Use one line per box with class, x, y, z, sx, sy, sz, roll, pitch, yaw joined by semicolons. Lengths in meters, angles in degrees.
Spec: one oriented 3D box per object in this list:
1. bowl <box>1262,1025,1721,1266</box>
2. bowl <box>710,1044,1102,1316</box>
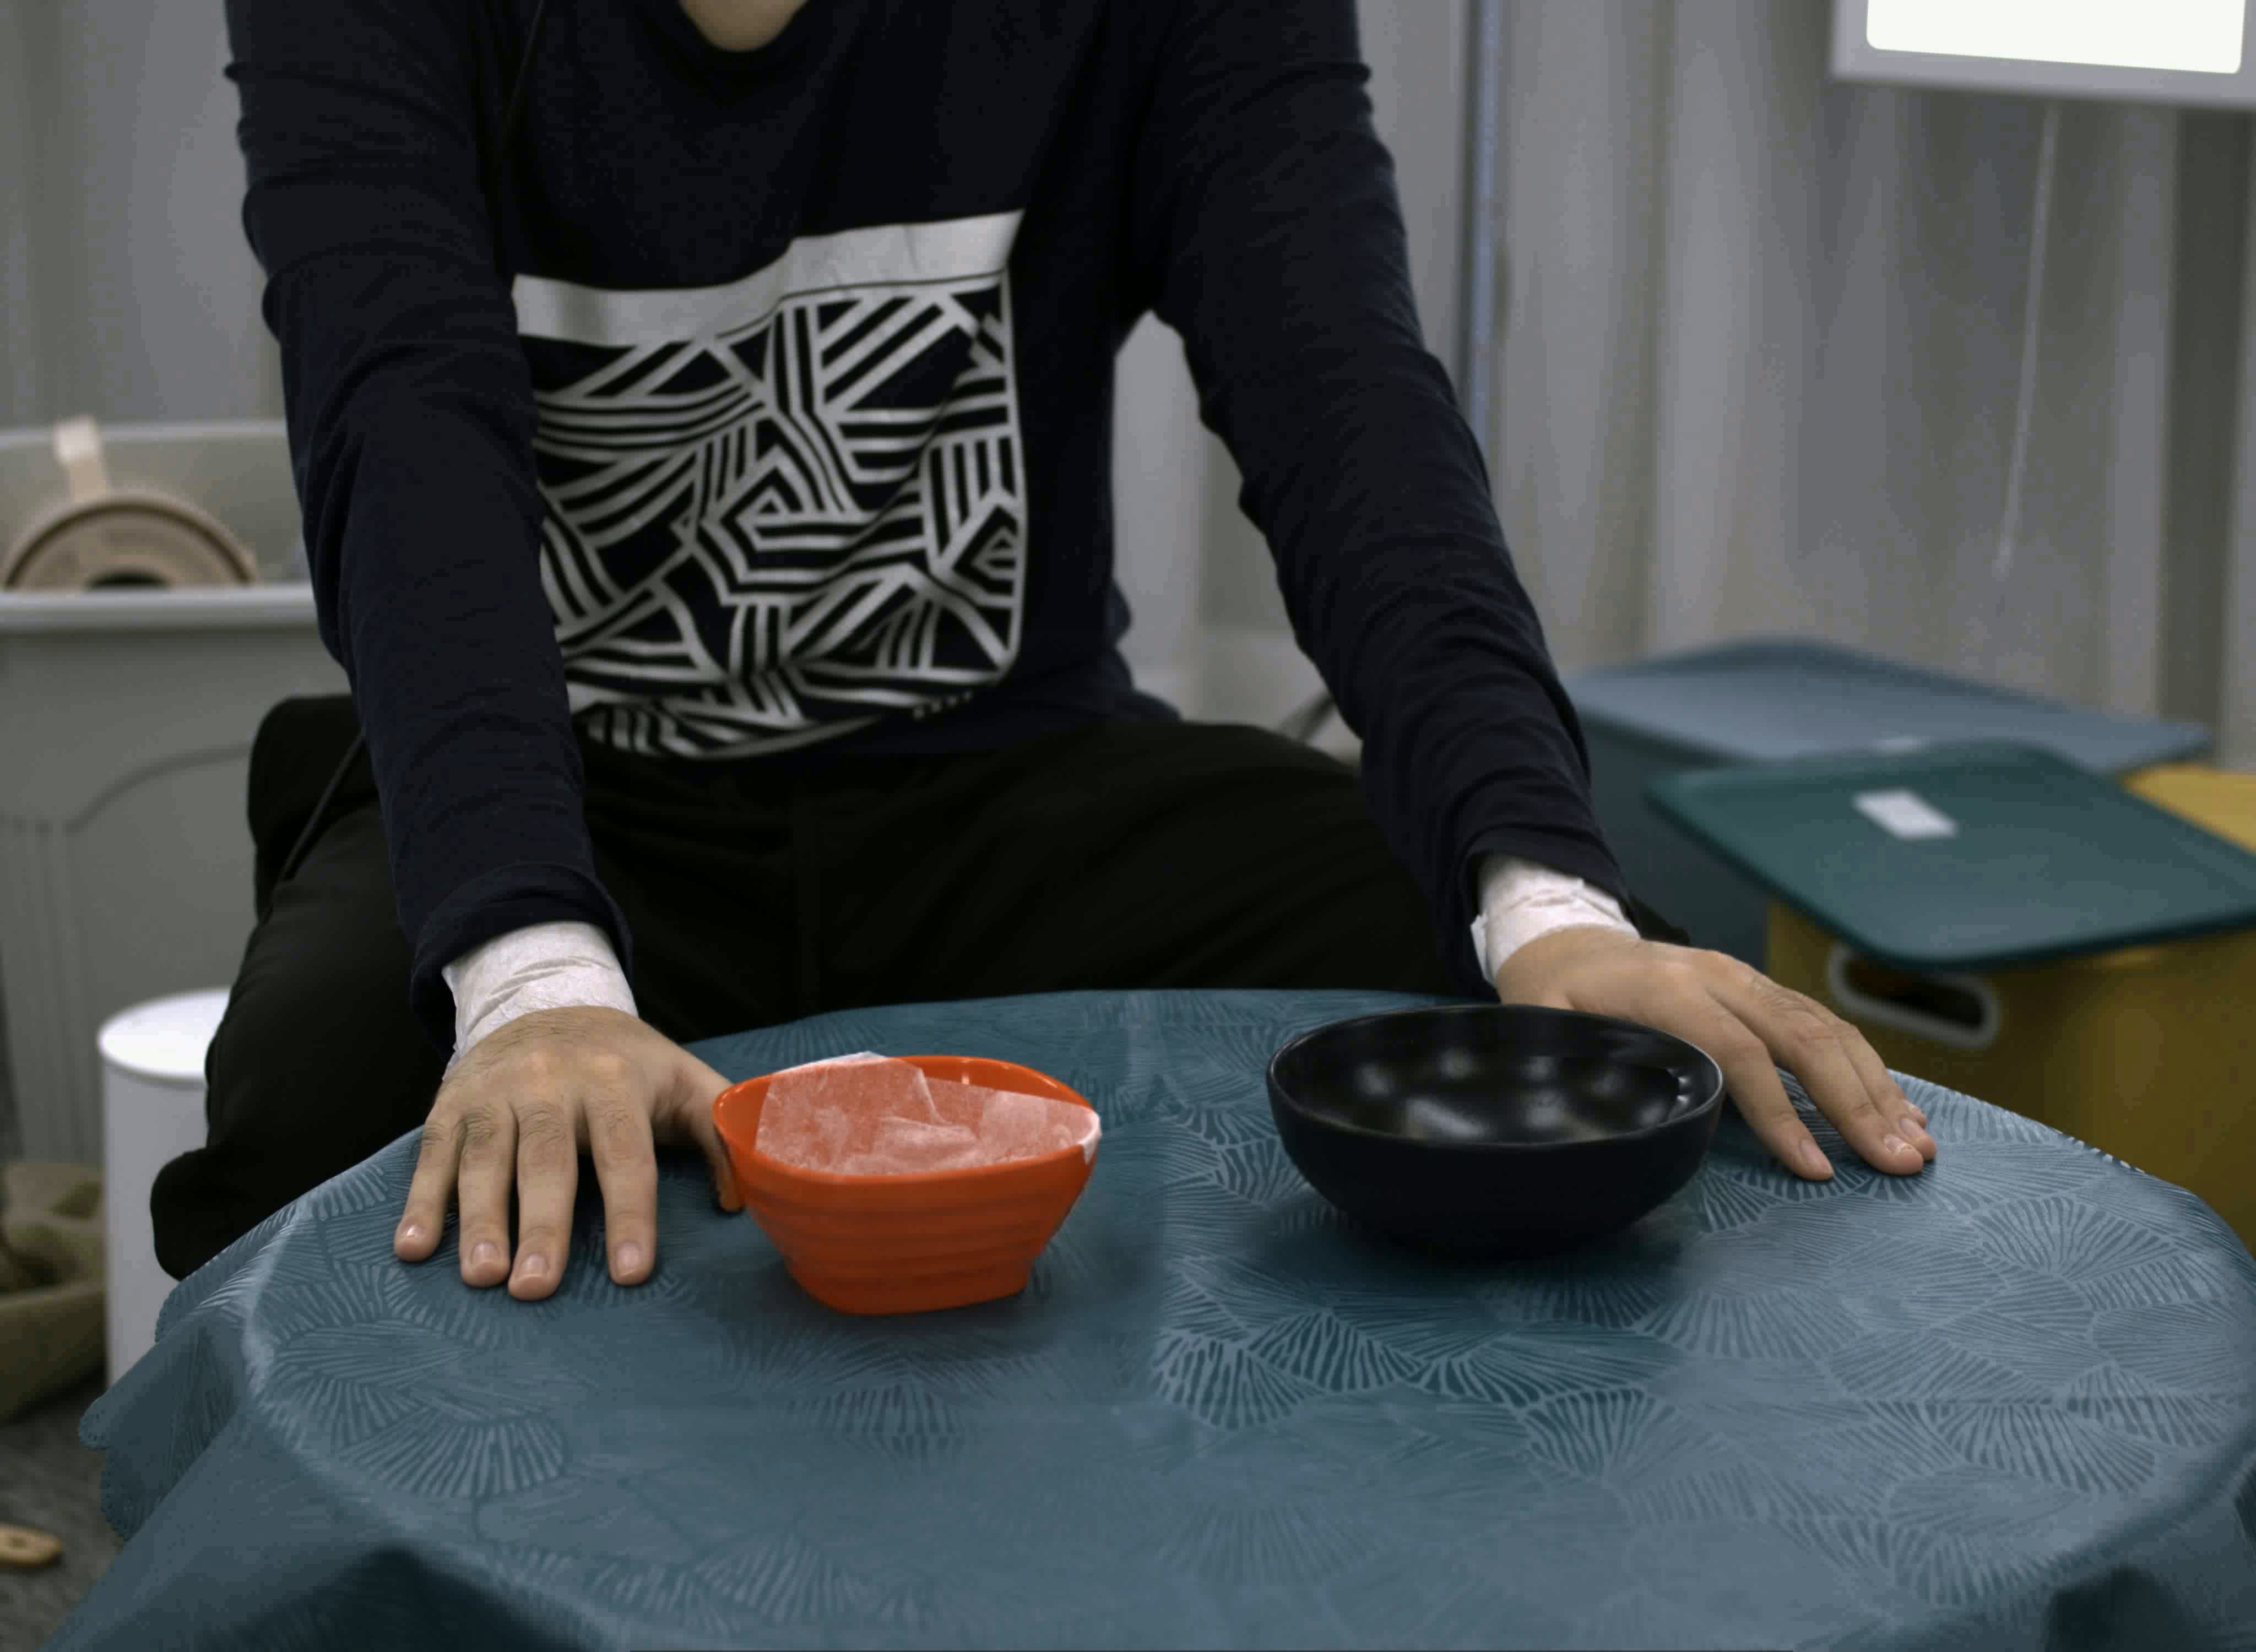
bowl;0.110;0.100;1.593;0.139;0.050;0.139;-1;11;1
bowl;-0.065;0.106;1.545;0.118;0.052;0.118;0;18;0
